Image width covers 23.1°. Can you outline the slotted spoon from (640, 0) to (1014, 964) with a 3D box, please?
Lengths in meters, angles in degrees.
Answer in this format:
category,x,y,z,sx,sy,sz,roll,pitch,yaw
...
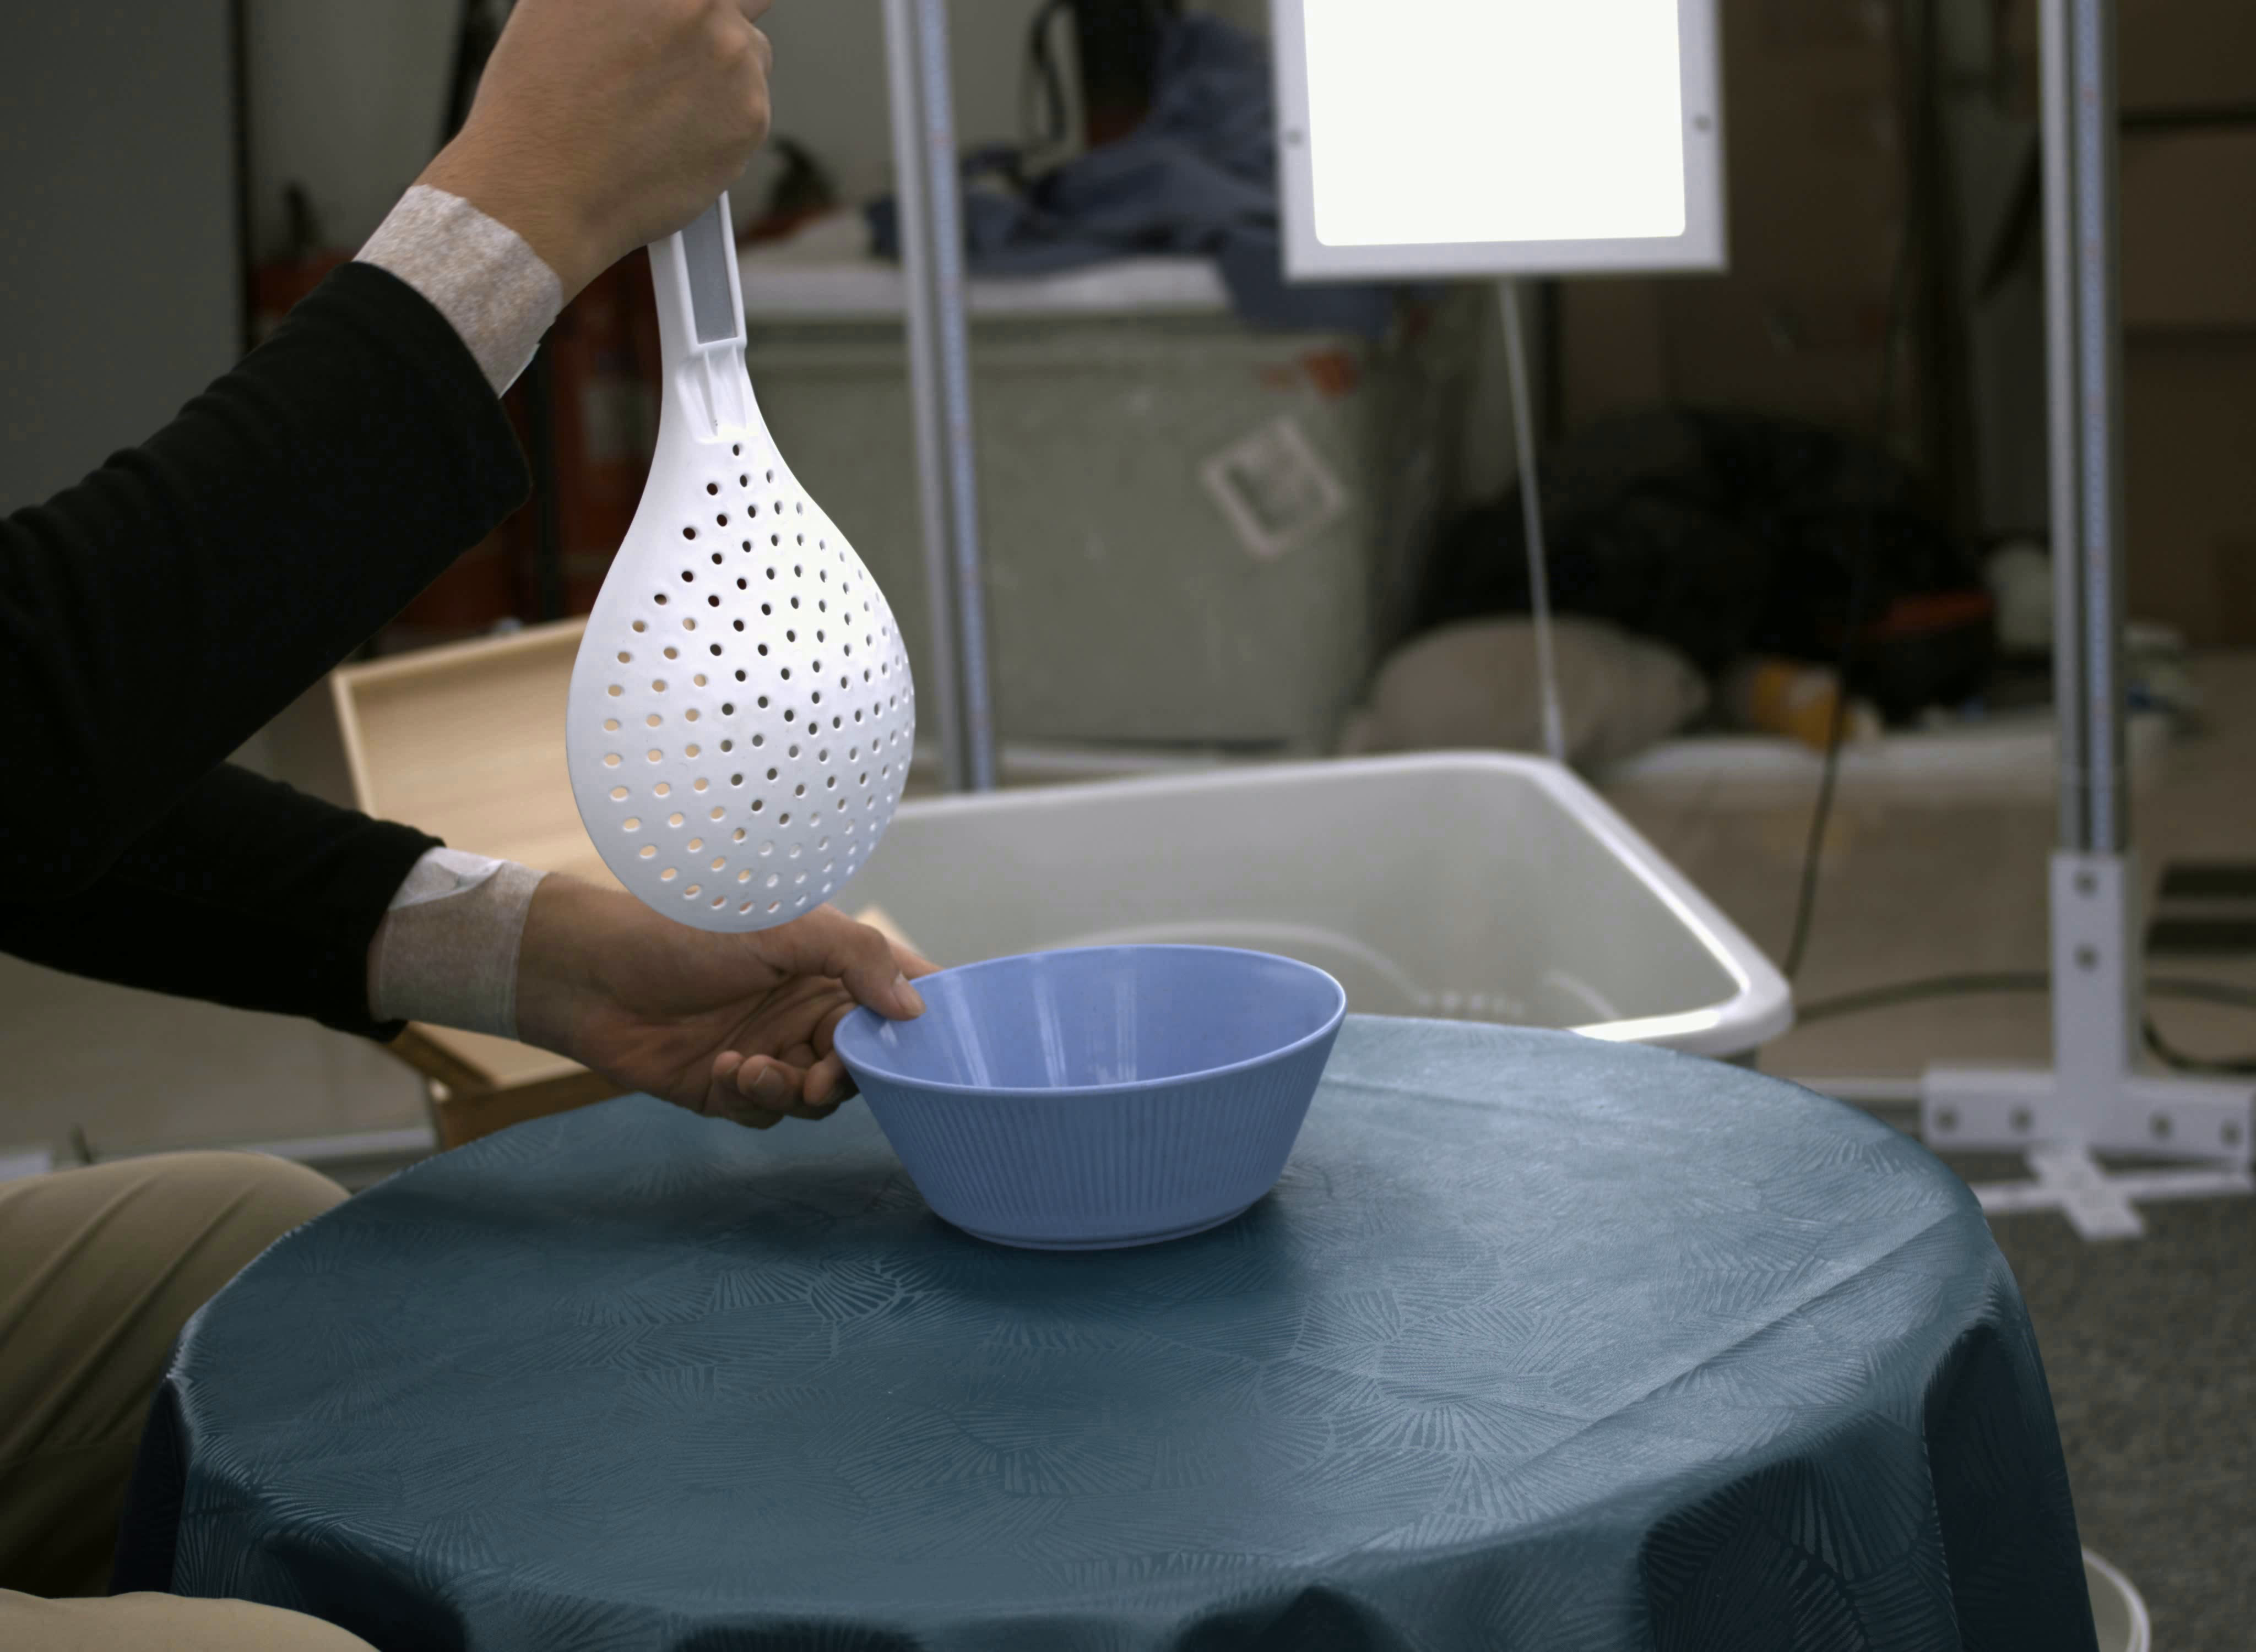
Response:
category,x,y,z,sx,sy,sz,roll,pitch,yaw
slotted spoon,-0.111,-0.128,1.725,0.133,0.350,0.046,-17,8,-27

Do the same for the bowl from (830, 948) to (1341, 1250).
category,x,y,z,sx,sy,sz,roll,pitch,yaw
bowl,-0.012,0.096,1.882,0.175,0.070,0.176,-6,14,0
